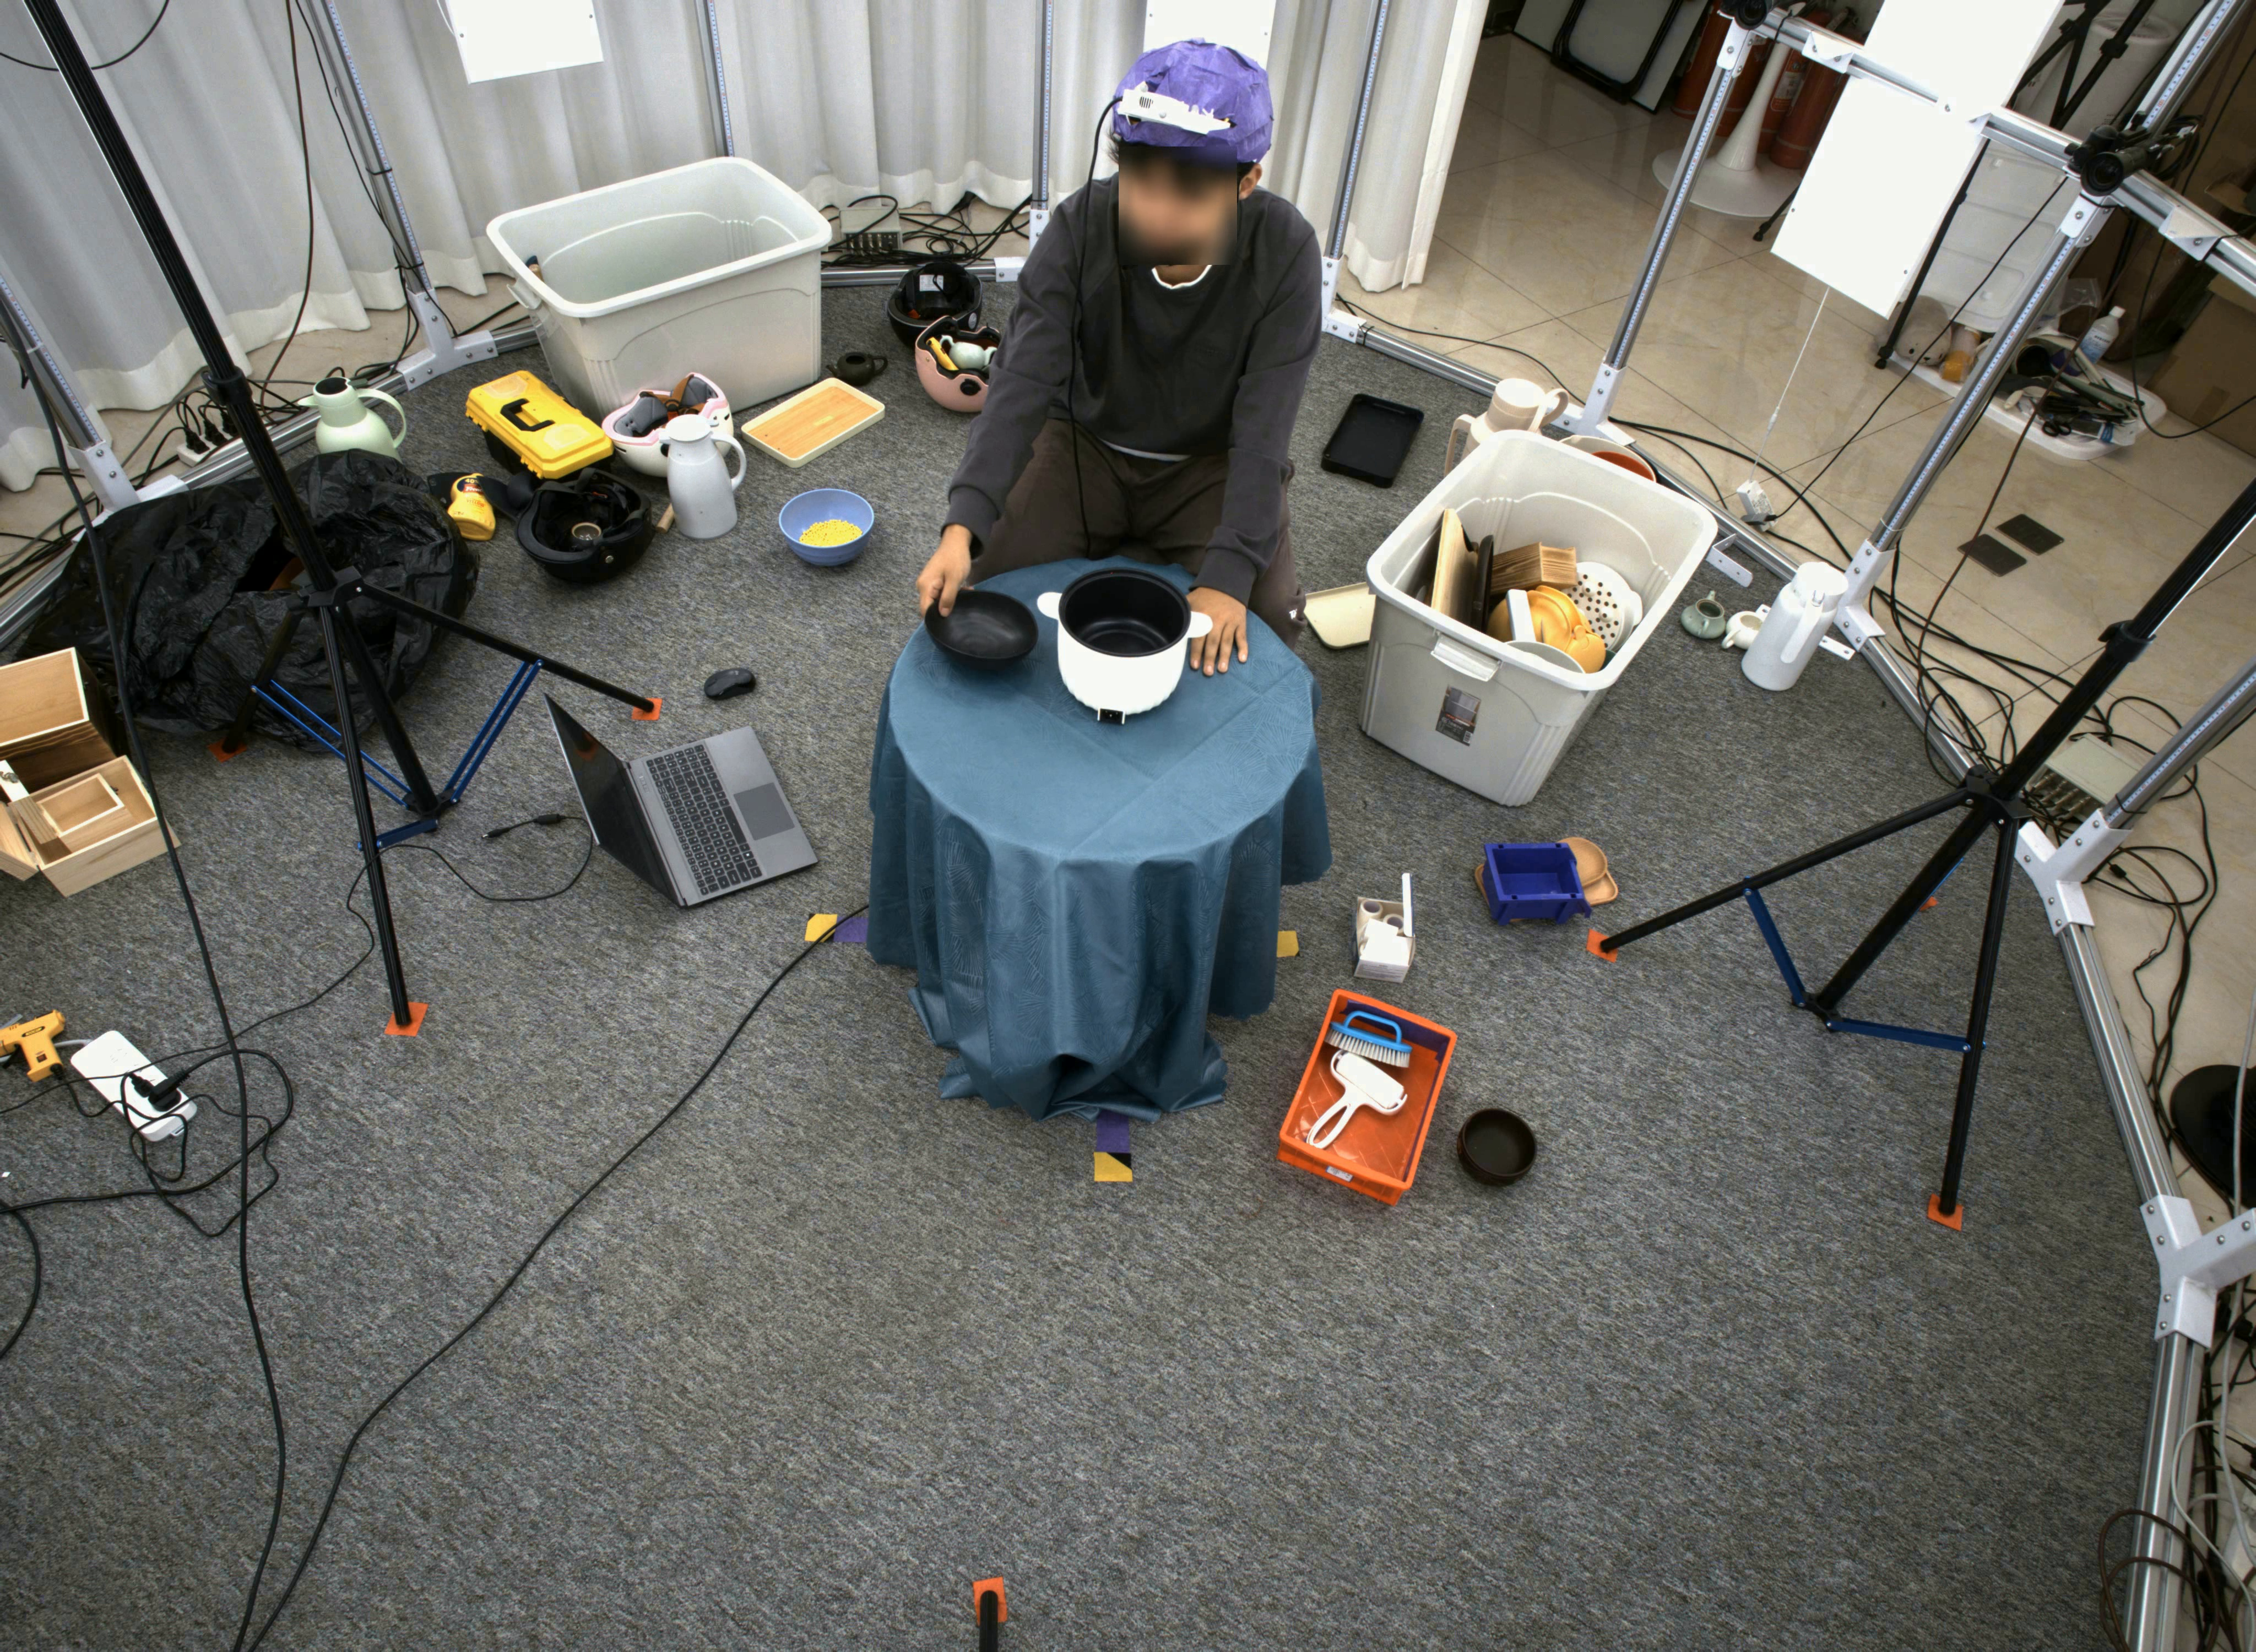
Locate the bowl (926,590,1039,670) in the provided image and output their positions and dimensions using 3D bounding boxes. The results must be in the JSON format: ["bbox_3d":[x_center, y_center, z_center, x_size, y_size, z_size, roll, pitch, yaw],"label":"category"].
[{"bbox_3d":[-0.209,-0.269,1.841,0.171,0.065,0.140,21,51,14],"label":"bowl"}]

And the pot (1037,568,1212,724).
[{"bbox_3d":[-0.009,-0.255,1.797,0.240,0.139,0.195,8,52,1],"label":"pot"}]
